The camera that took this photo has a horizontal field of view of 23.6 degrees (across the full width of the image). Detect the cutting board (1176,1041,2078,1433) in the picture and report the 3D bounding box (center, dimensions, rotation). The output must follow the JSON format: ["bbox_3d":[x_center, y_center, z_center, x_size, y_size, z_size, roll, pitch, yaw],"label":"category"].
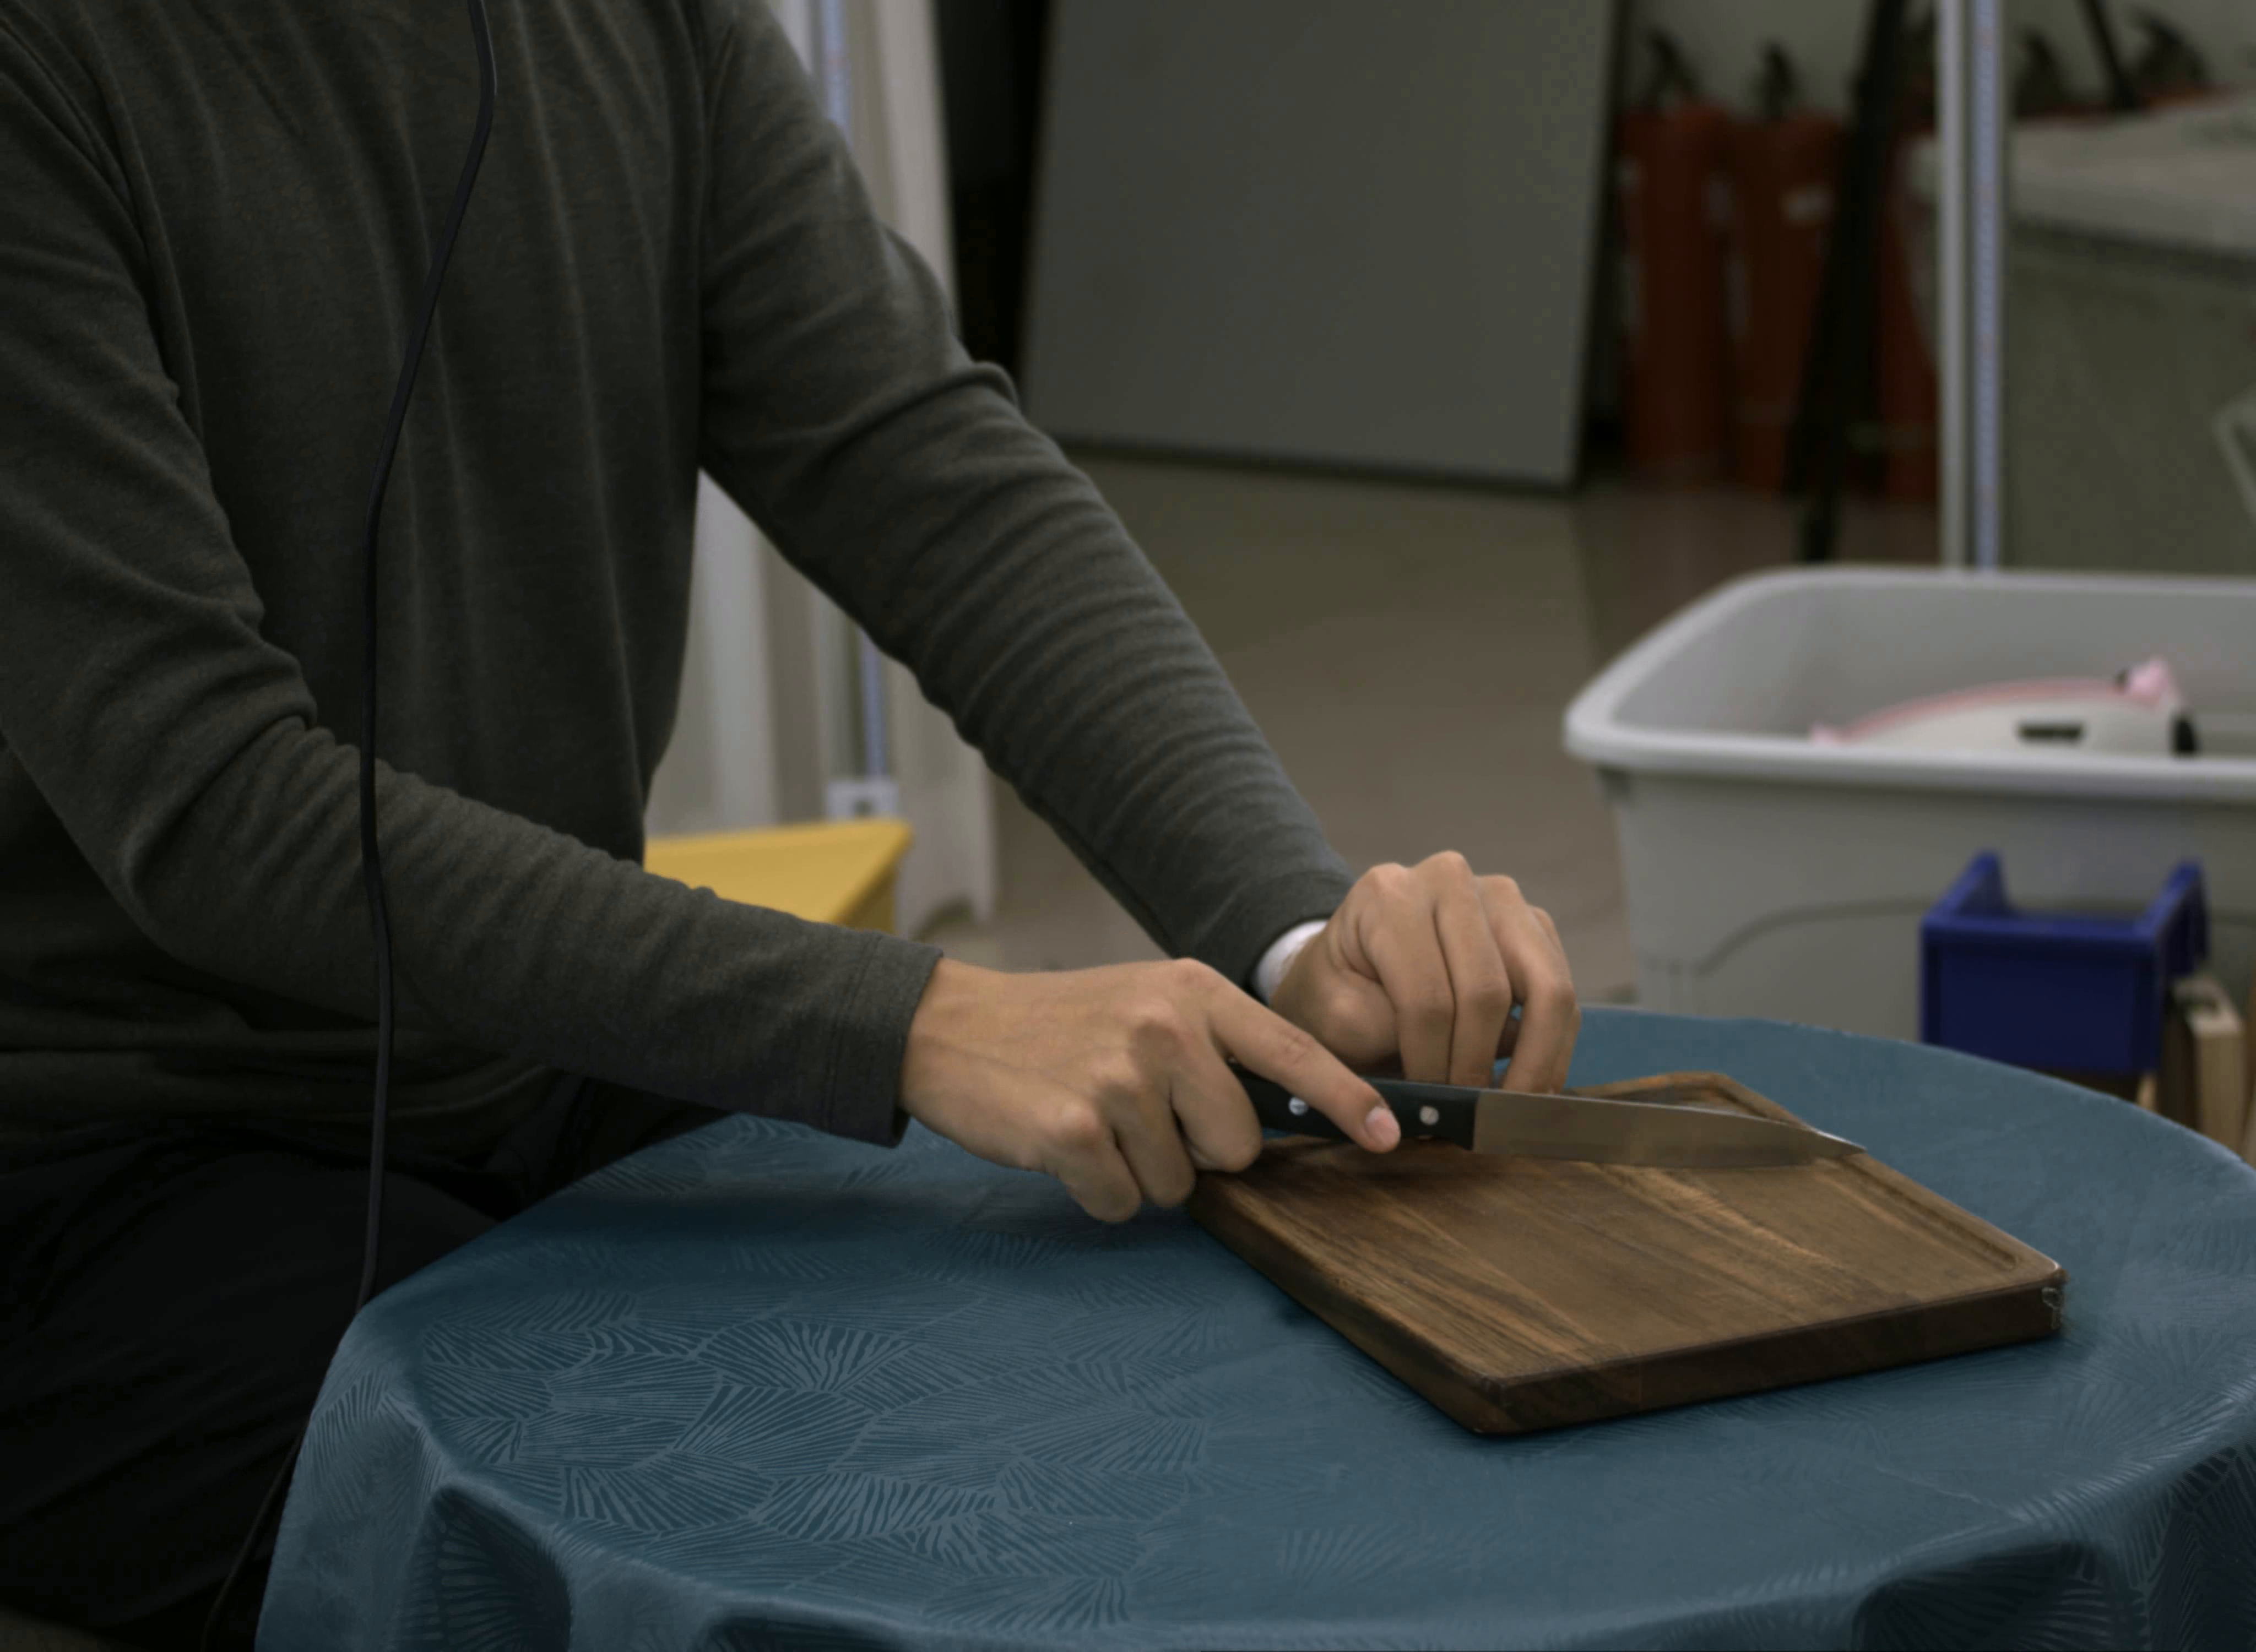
[{"bbox_3d":[0.131,0.118,1.708,0.197,0.023,0.355,-8,14,-18],"label":"cutting board"}]

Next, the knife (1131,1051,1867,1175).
[{"bbox_3d":[0.118,0.092,1.713,0.236,0.025,0.016,6,17,10],"label":"knife"}]
